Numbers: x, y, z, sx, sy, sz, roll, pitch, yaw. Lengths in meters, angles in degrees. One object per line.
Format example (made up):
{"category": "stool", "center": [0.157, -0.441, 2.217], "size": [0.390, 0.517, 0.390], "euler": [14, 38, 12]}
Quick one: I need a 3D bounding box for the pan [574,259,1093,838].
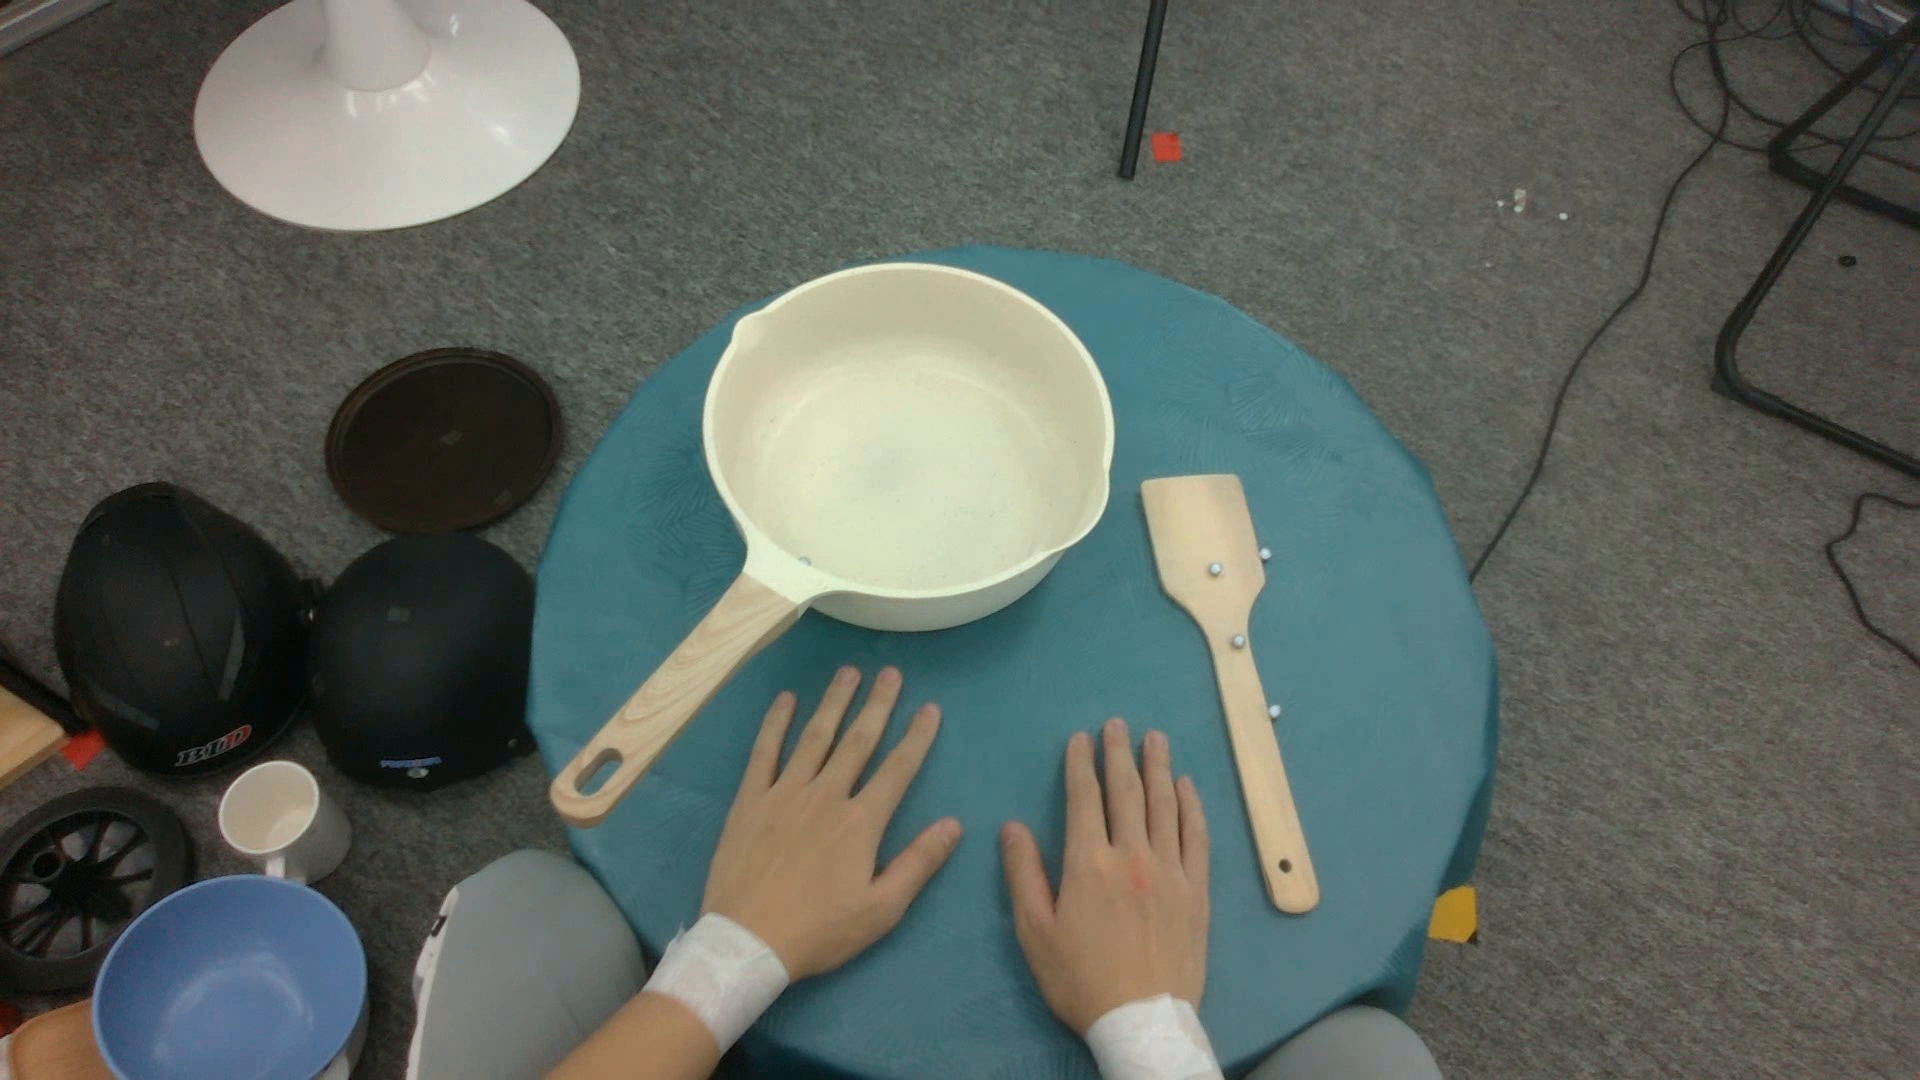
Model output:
{"category": "pan", "center": [-0.088, 0.006, 0.837], "size": [0.263, 0.101, 0.437], "euler": [27, 61, 11]}

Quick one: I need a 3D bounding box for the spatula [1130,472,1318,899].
{"category": "spatula", "center": [0.171, 0.081, 0.860], "size": [0.072, 0.010, 0.294], "euler": [-6, 59, -8]}
